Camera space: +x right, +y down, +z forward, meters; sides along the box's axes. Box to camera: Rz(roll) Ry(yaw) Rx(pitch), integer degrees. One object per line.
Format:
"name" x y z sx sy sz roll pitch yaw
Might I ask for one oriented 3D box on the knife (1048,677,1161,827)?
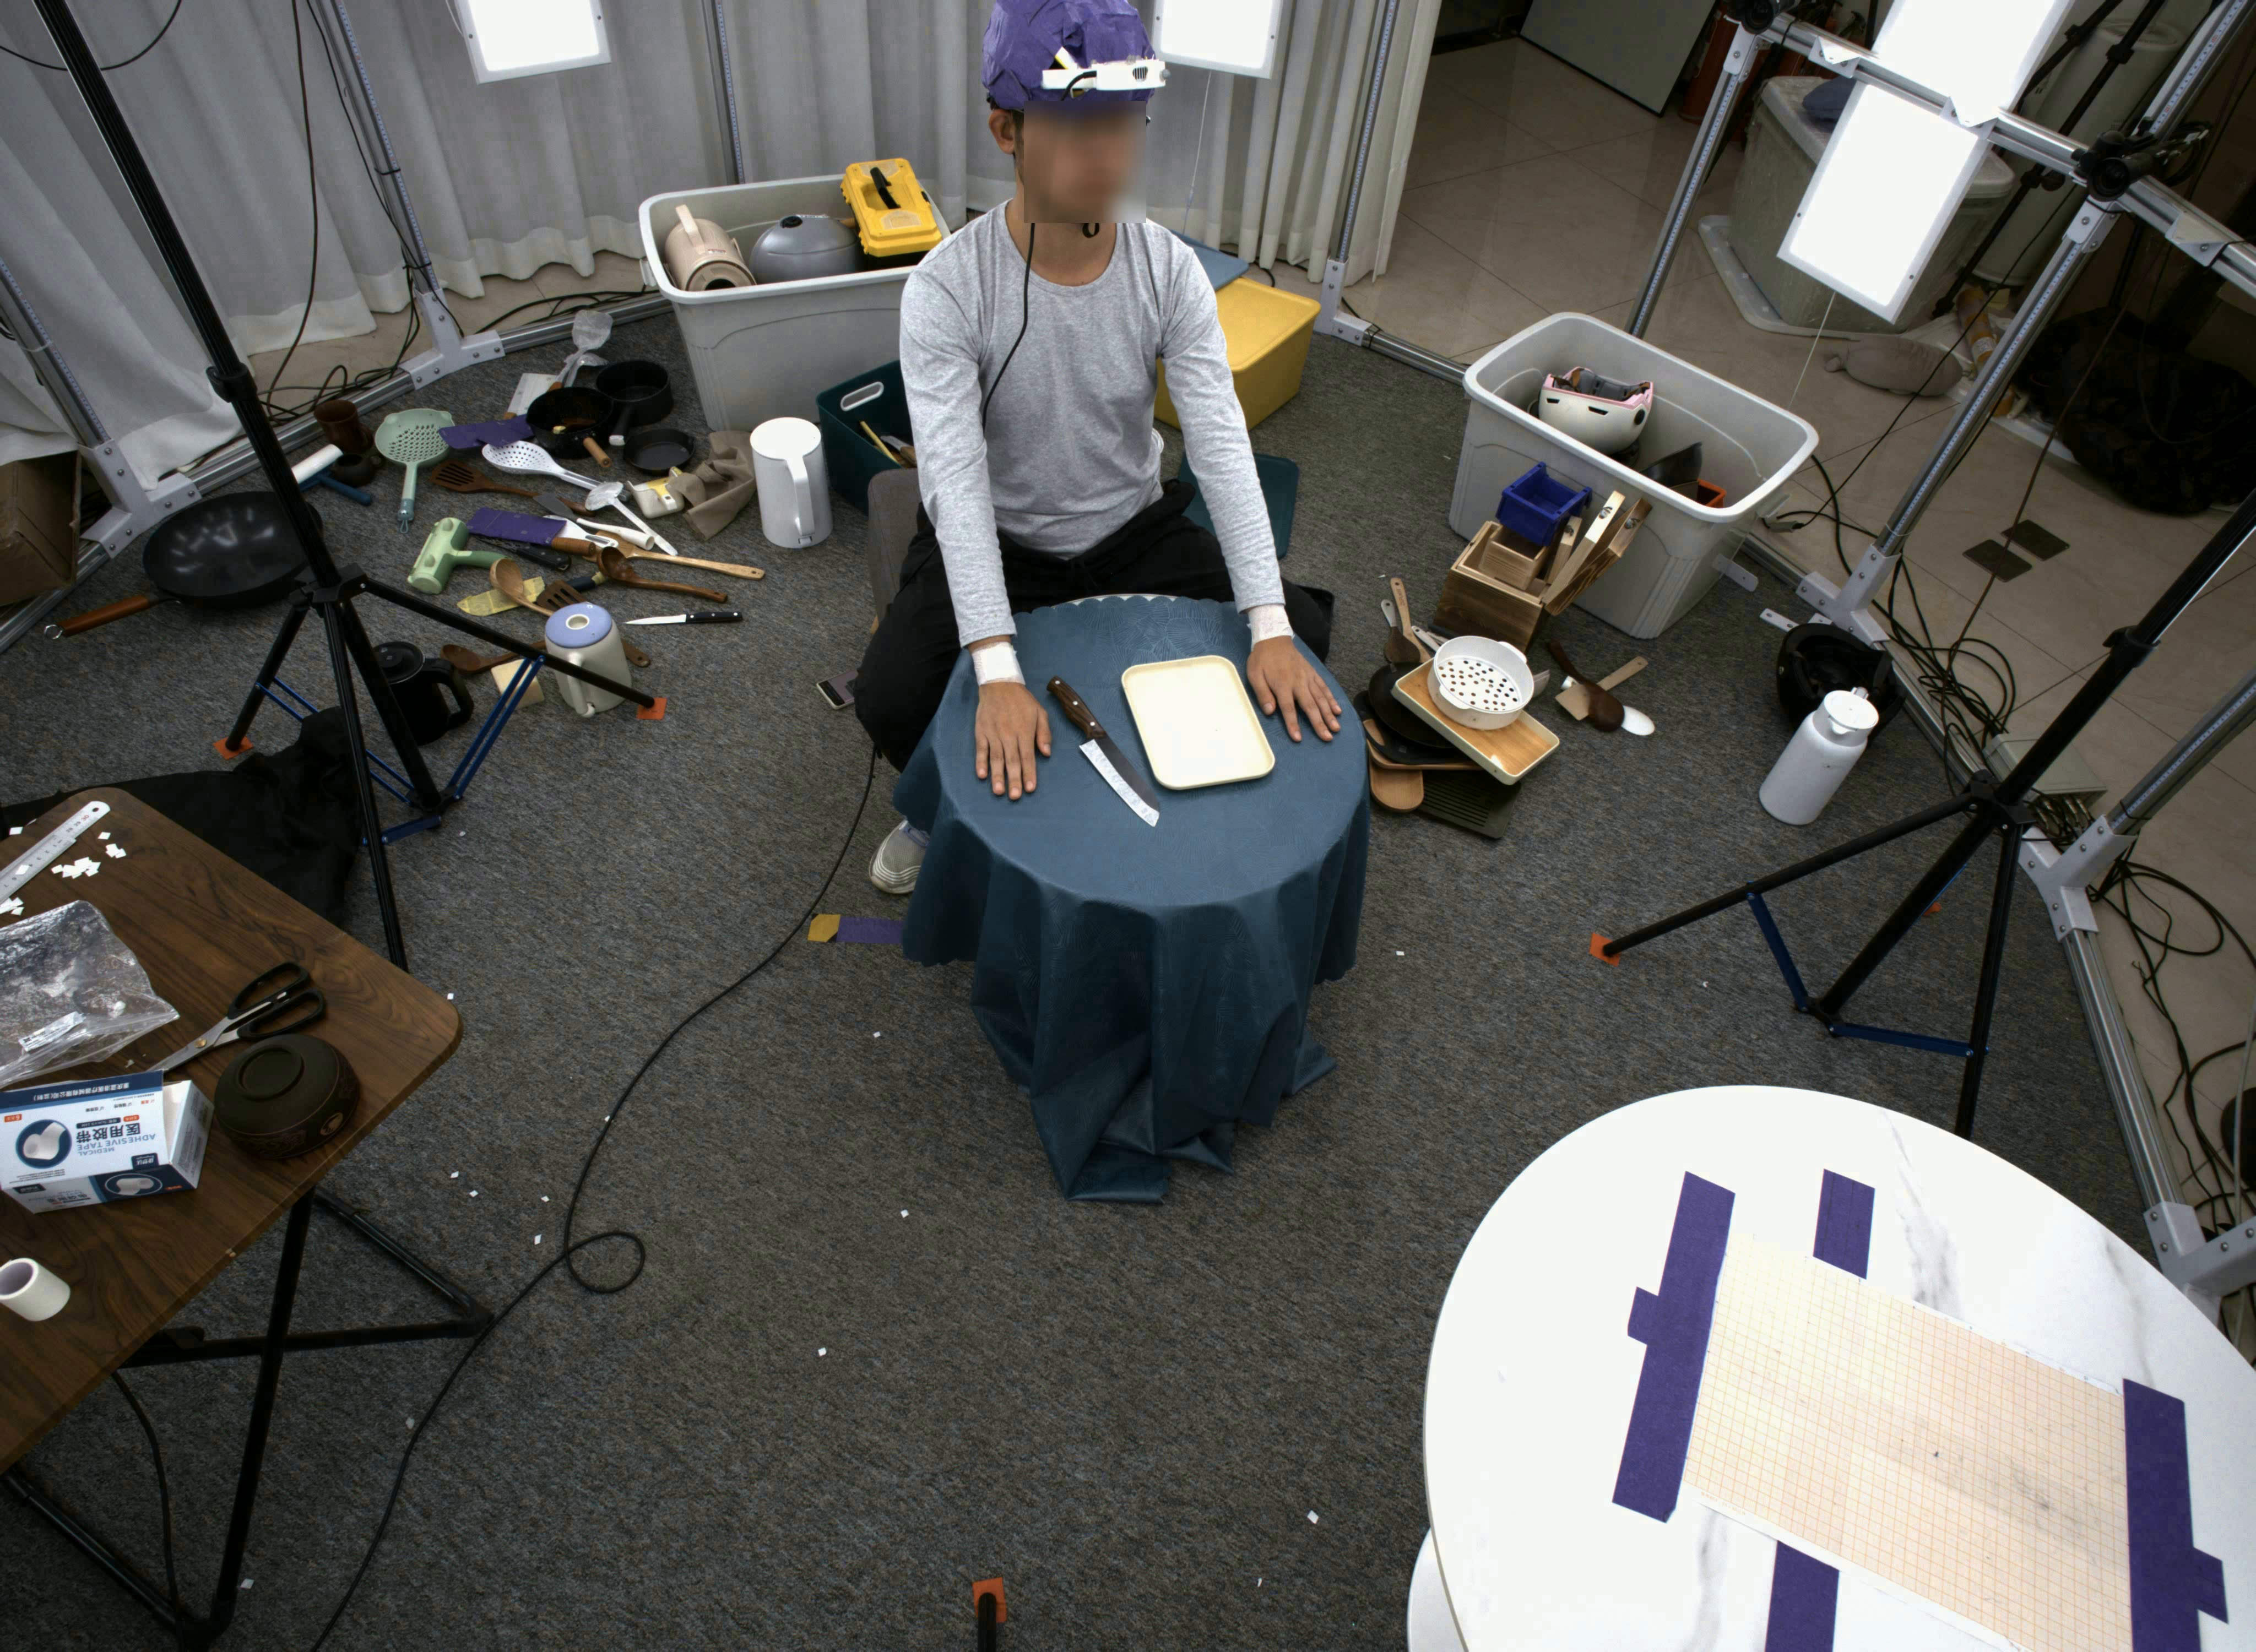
"knife" -0.034 -0.103 1.745 0.050 0.019 0.295 -25 57 -17

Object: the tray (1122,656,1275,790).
"tray" 0.095 -0.145 1.789 0.171 0.017 0.246 -8 50 -11
